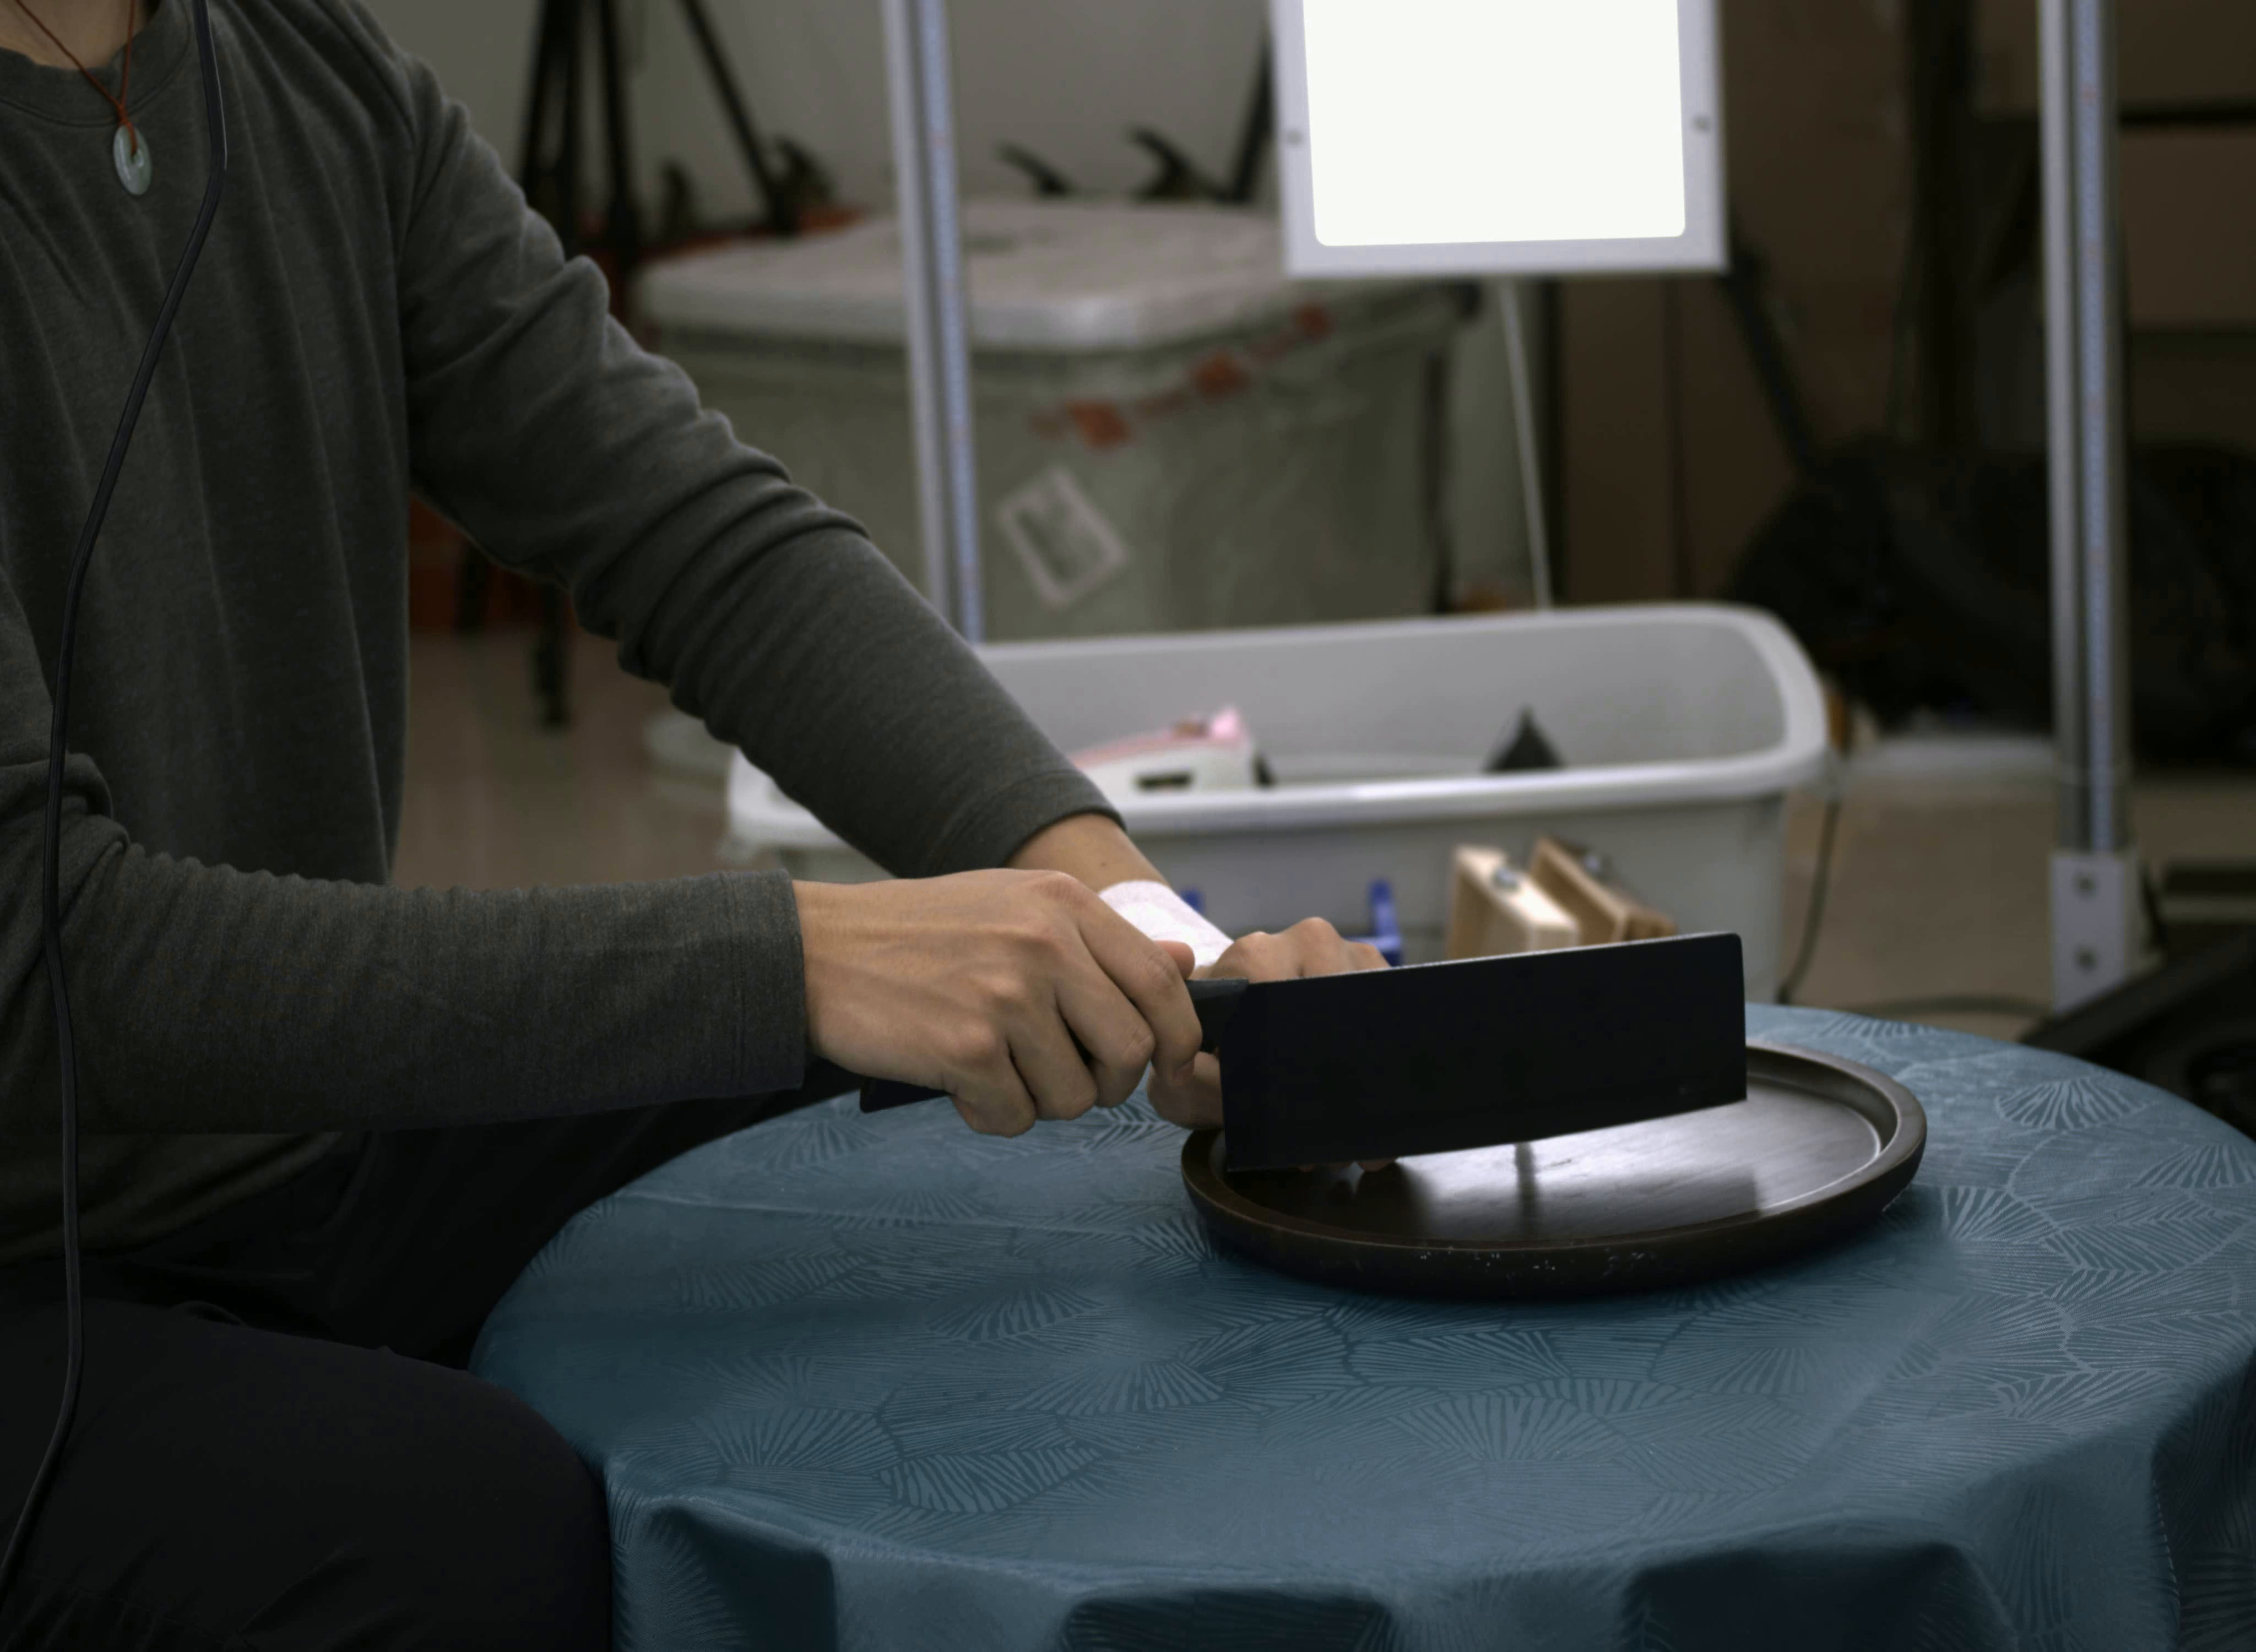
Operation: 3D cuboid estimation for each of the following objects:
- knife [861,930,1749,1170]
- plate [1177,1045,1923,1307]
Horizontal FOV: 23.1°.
[{"bbox_3d":[0.061,0.077,1.835,0.300,0.081,0.021,-1,14,-5],"label":"knife"},{"bbox_3d":[0.143,0.114,1.856,0.254,0.029,0.254,-5,15,0],"label":"plate"}]
